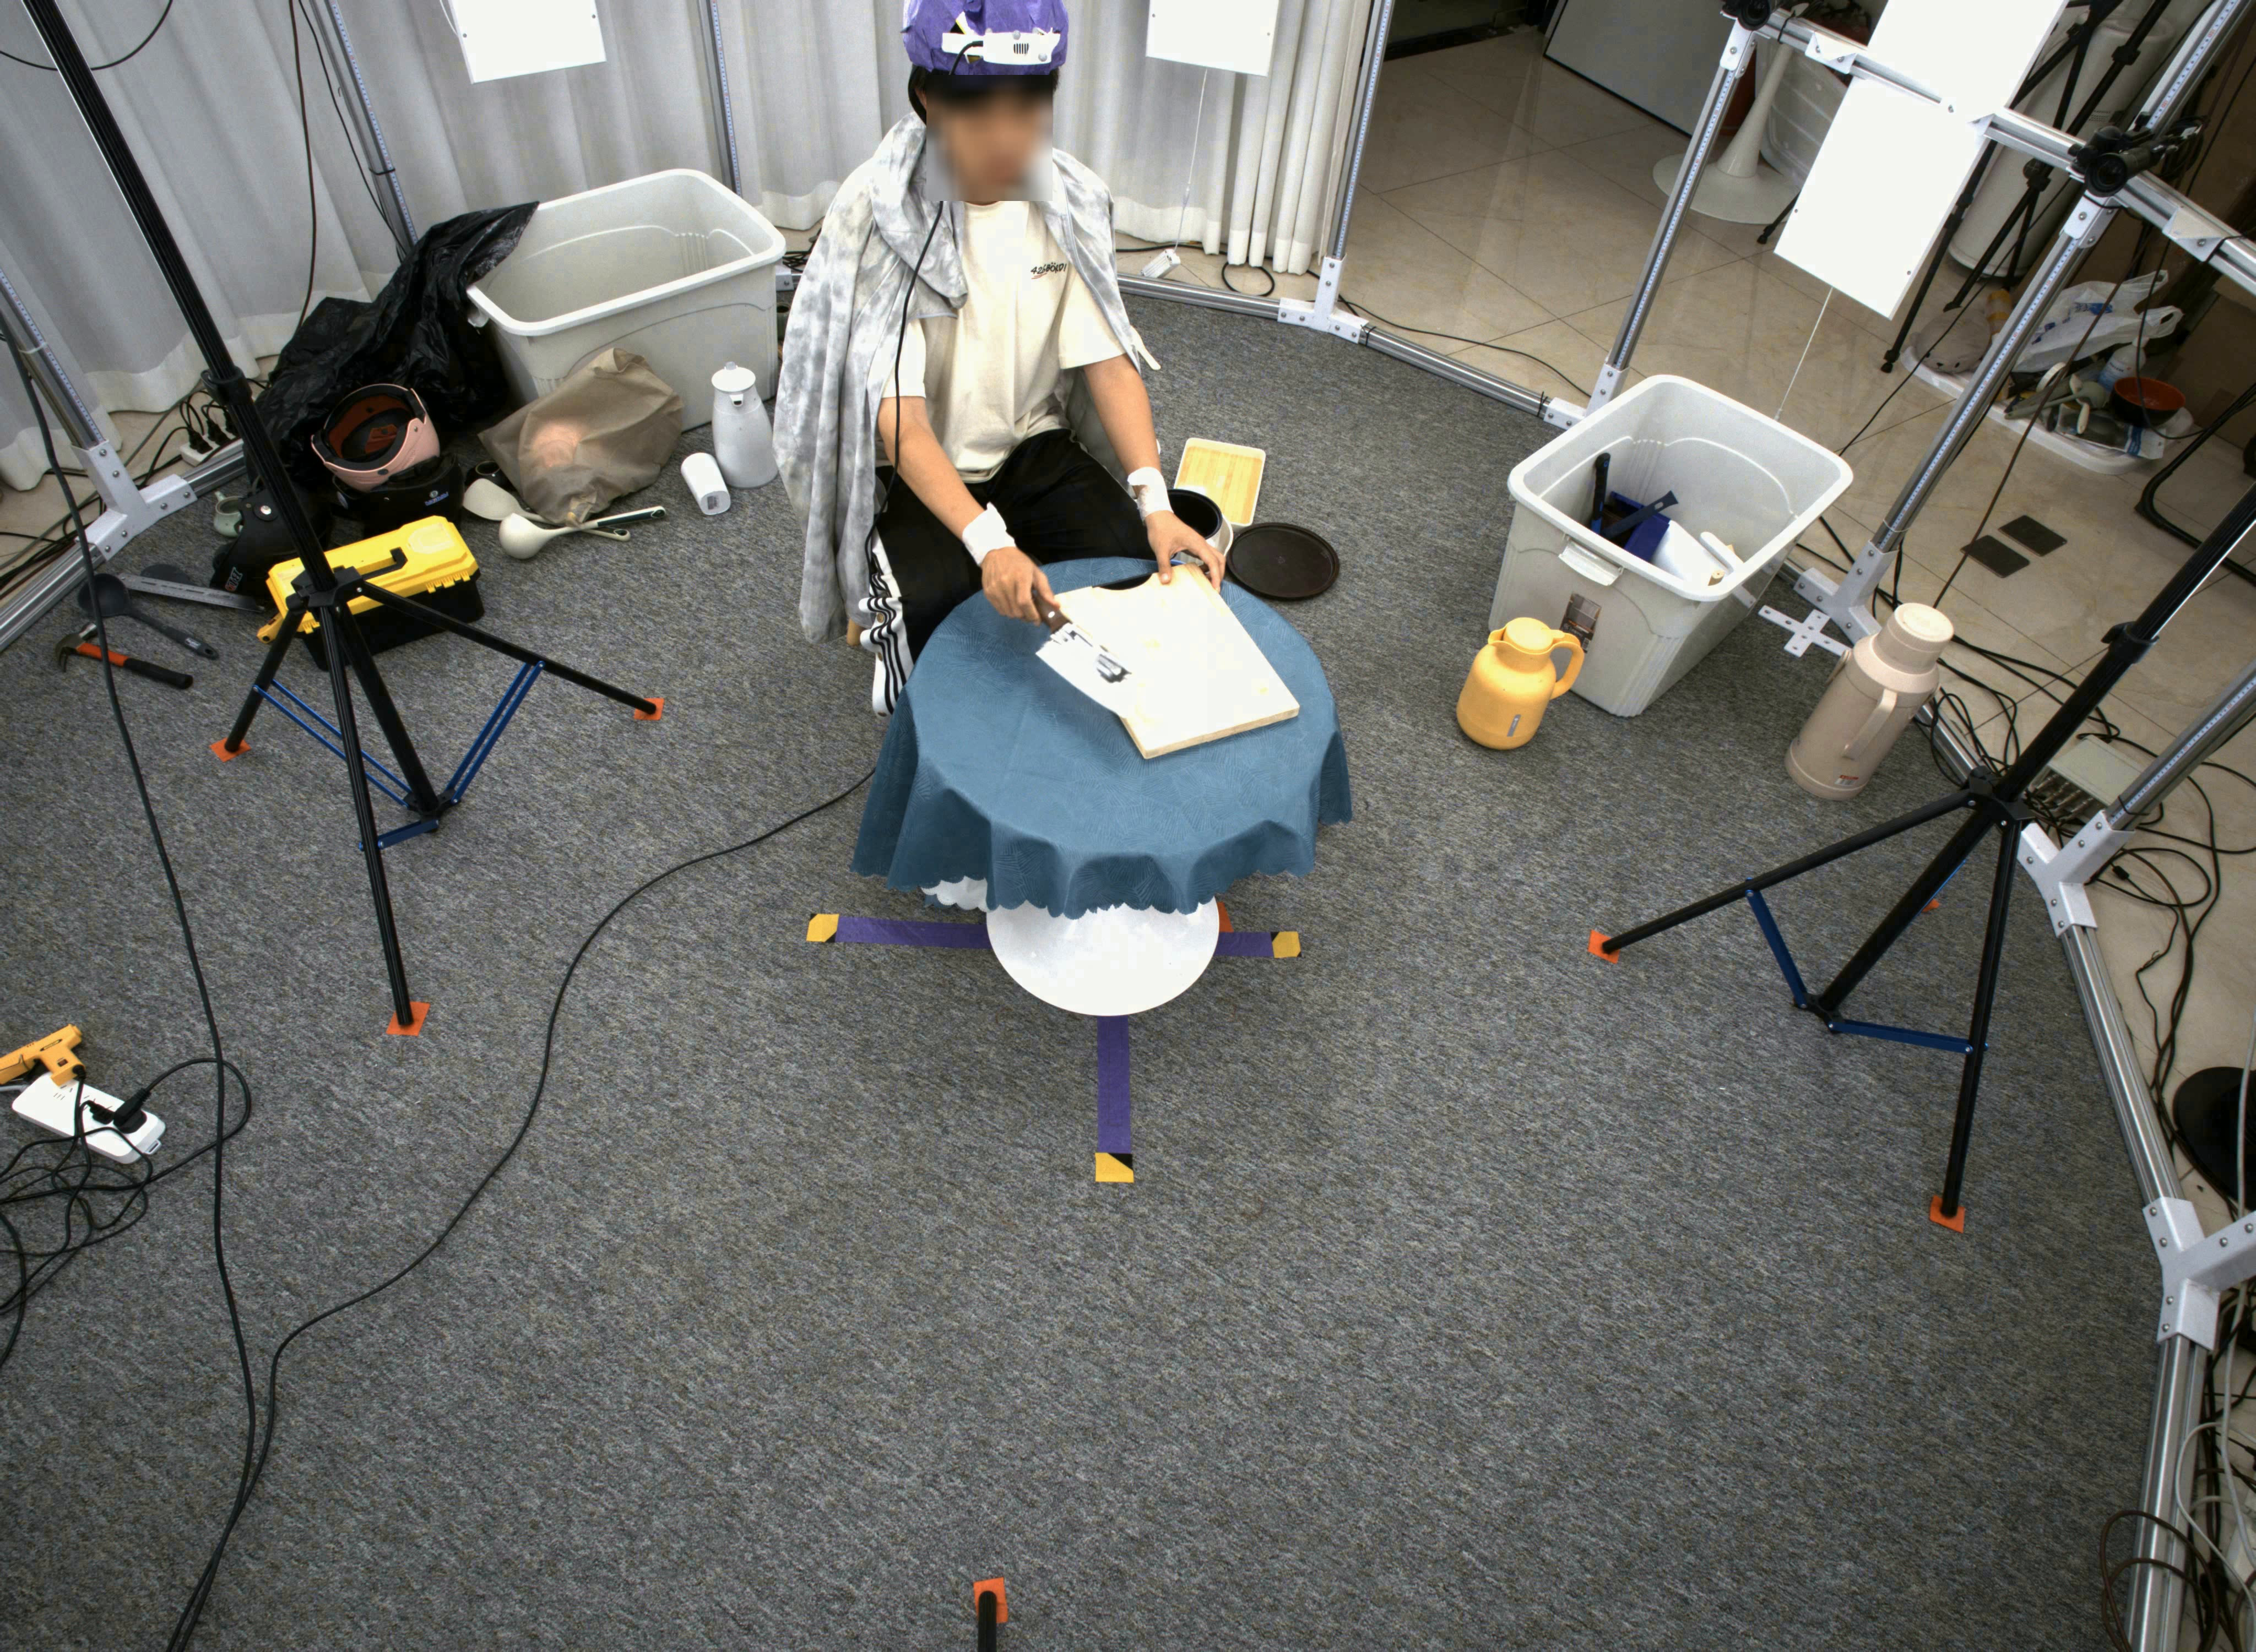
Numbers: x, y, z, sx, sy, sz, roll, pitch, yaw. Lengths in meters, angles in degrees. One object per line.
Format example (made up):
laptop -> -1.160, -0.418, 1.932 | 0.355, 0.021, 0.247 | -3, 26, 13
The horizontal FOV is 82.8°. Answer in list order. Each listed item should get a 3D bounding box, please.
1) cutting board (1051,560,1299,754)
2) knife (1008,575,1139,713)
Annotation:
cutting board -> 0.062, -0.255, 1.877 | 0.251, 0.023, 0.356 | -17, 52, -18
knife -> -0.082, -0.254, 1.780 | 0.068, 0.023, 0.304 | -47, 61, -4
